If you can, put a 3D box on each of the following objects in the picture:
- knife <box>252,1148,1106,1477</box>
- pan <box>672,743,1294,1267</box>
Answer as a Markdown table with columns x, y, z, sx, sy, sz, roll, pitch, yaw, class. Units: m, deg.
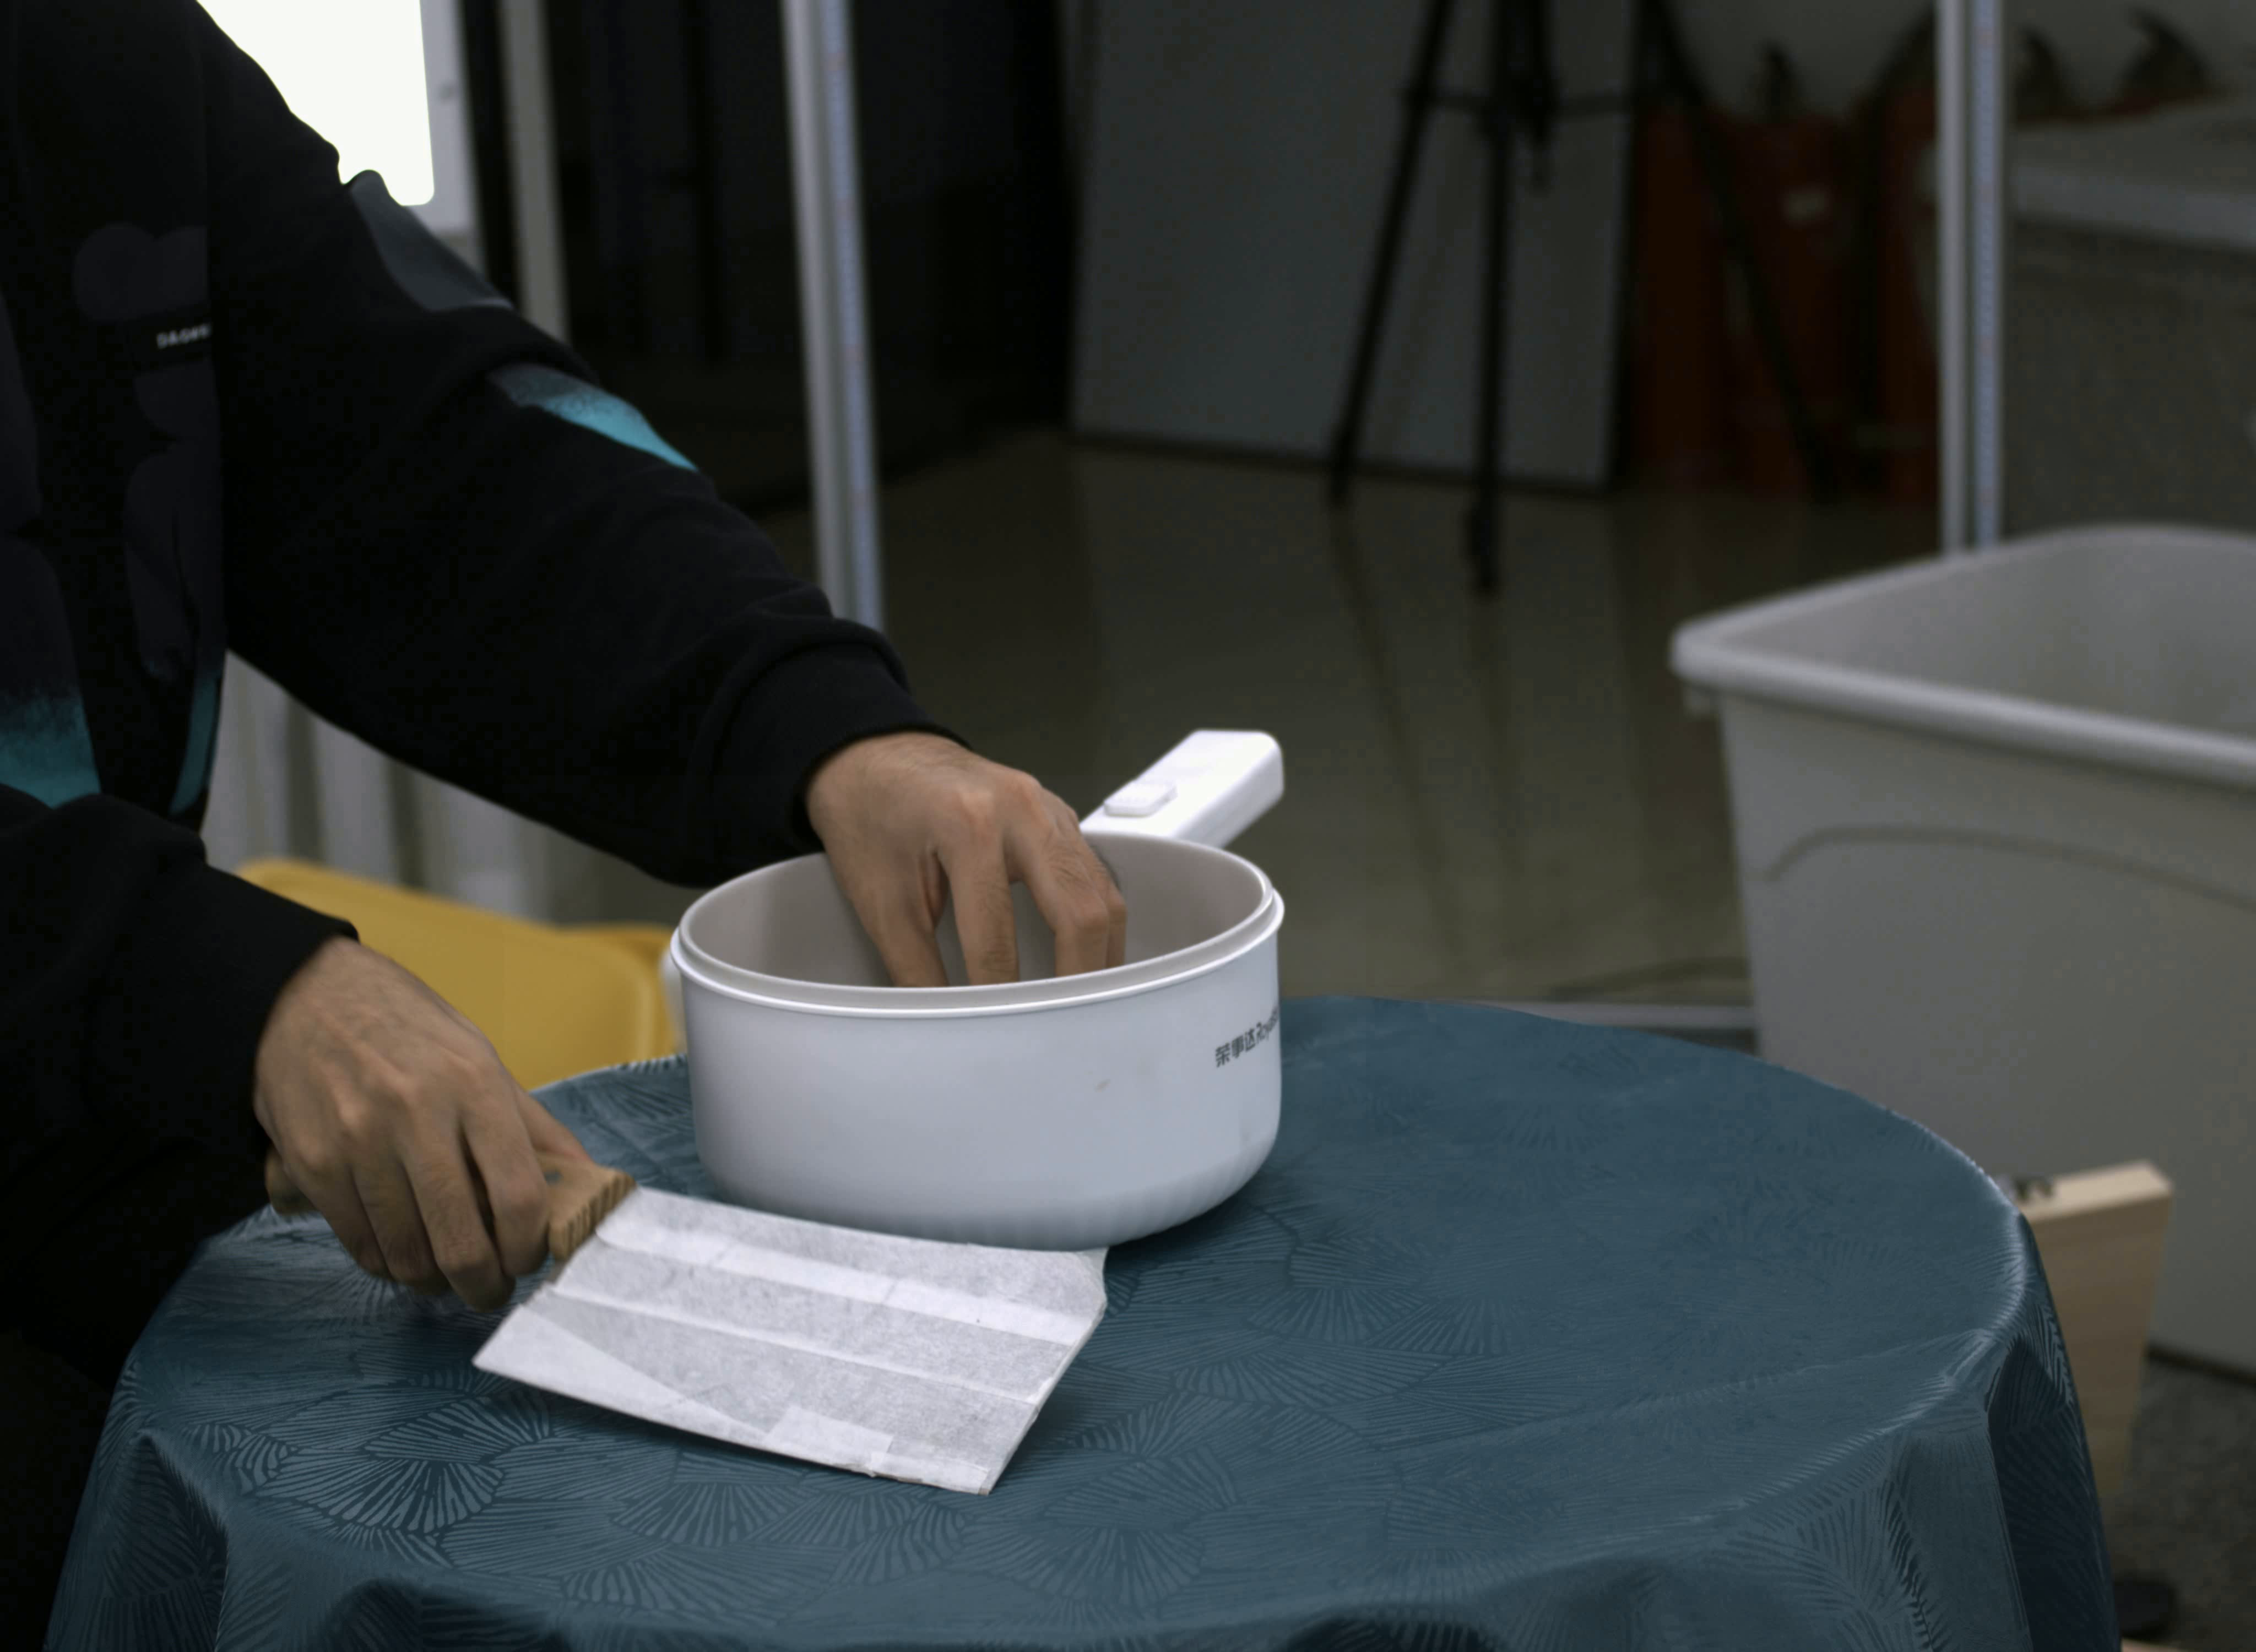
| x | y | z | sx | sy | sz | roll | pitch | yaw | class |
| --- | --- | --- | --- | --- | --- | --- | --- | --- | --- |
| -0.143 | 0.139 | 1.631 | 0.317 | 0.022 | 0.113 | 10 | 41 | 36 | knife |
| -0.019 | 0.057 | 1.830 | 0.201 | 0.103 | 0.351 | 0 | 14 | 22 | pan |
